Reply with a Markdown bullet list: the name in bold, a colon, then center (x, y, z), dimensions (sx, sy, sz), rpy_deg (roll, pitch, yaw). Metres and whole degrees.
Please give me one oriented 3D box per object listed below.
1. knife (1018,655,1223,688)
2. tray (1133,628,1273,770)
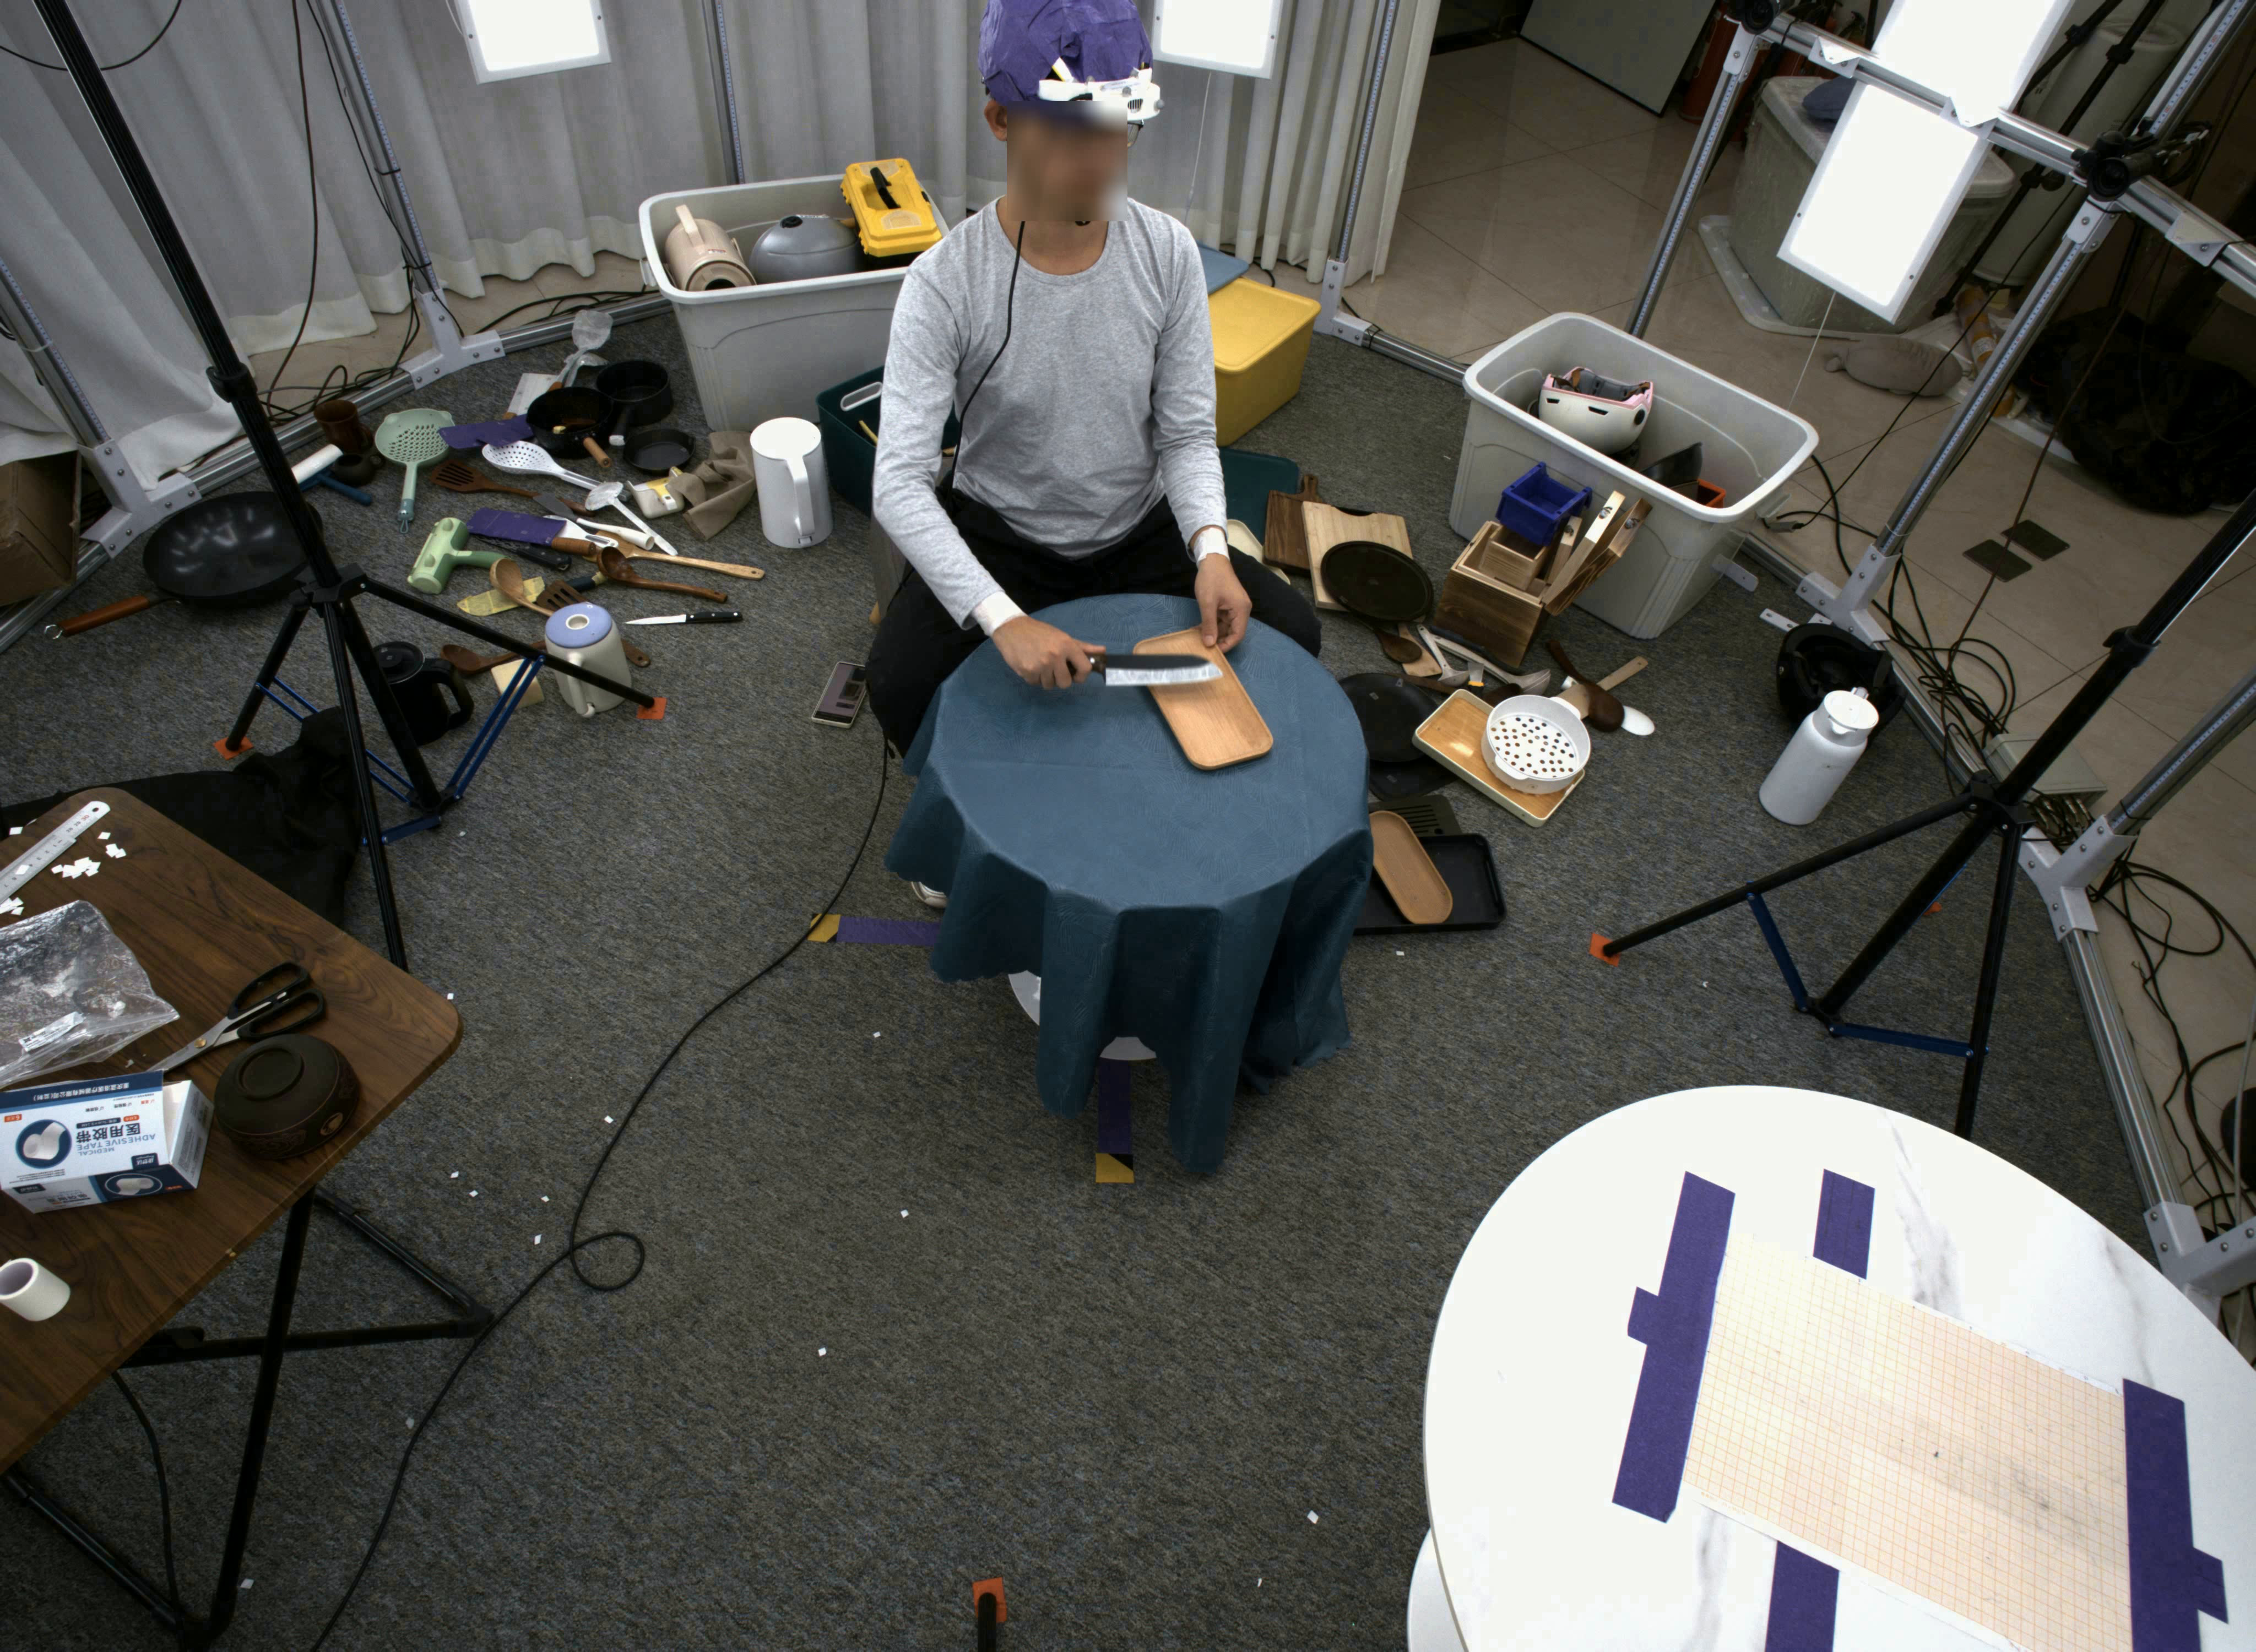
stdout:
- **knife**: center (-0.009, -0.217, 1.791), dimensions (0.288, 0.020, 0.051), rpy_deg (2, 80, -6)
- **tray**: center (0.103, -0.183, 1.815), dimensions (0.130, 0.022, 0.256), rpy_deg (-13, 53, -17)
